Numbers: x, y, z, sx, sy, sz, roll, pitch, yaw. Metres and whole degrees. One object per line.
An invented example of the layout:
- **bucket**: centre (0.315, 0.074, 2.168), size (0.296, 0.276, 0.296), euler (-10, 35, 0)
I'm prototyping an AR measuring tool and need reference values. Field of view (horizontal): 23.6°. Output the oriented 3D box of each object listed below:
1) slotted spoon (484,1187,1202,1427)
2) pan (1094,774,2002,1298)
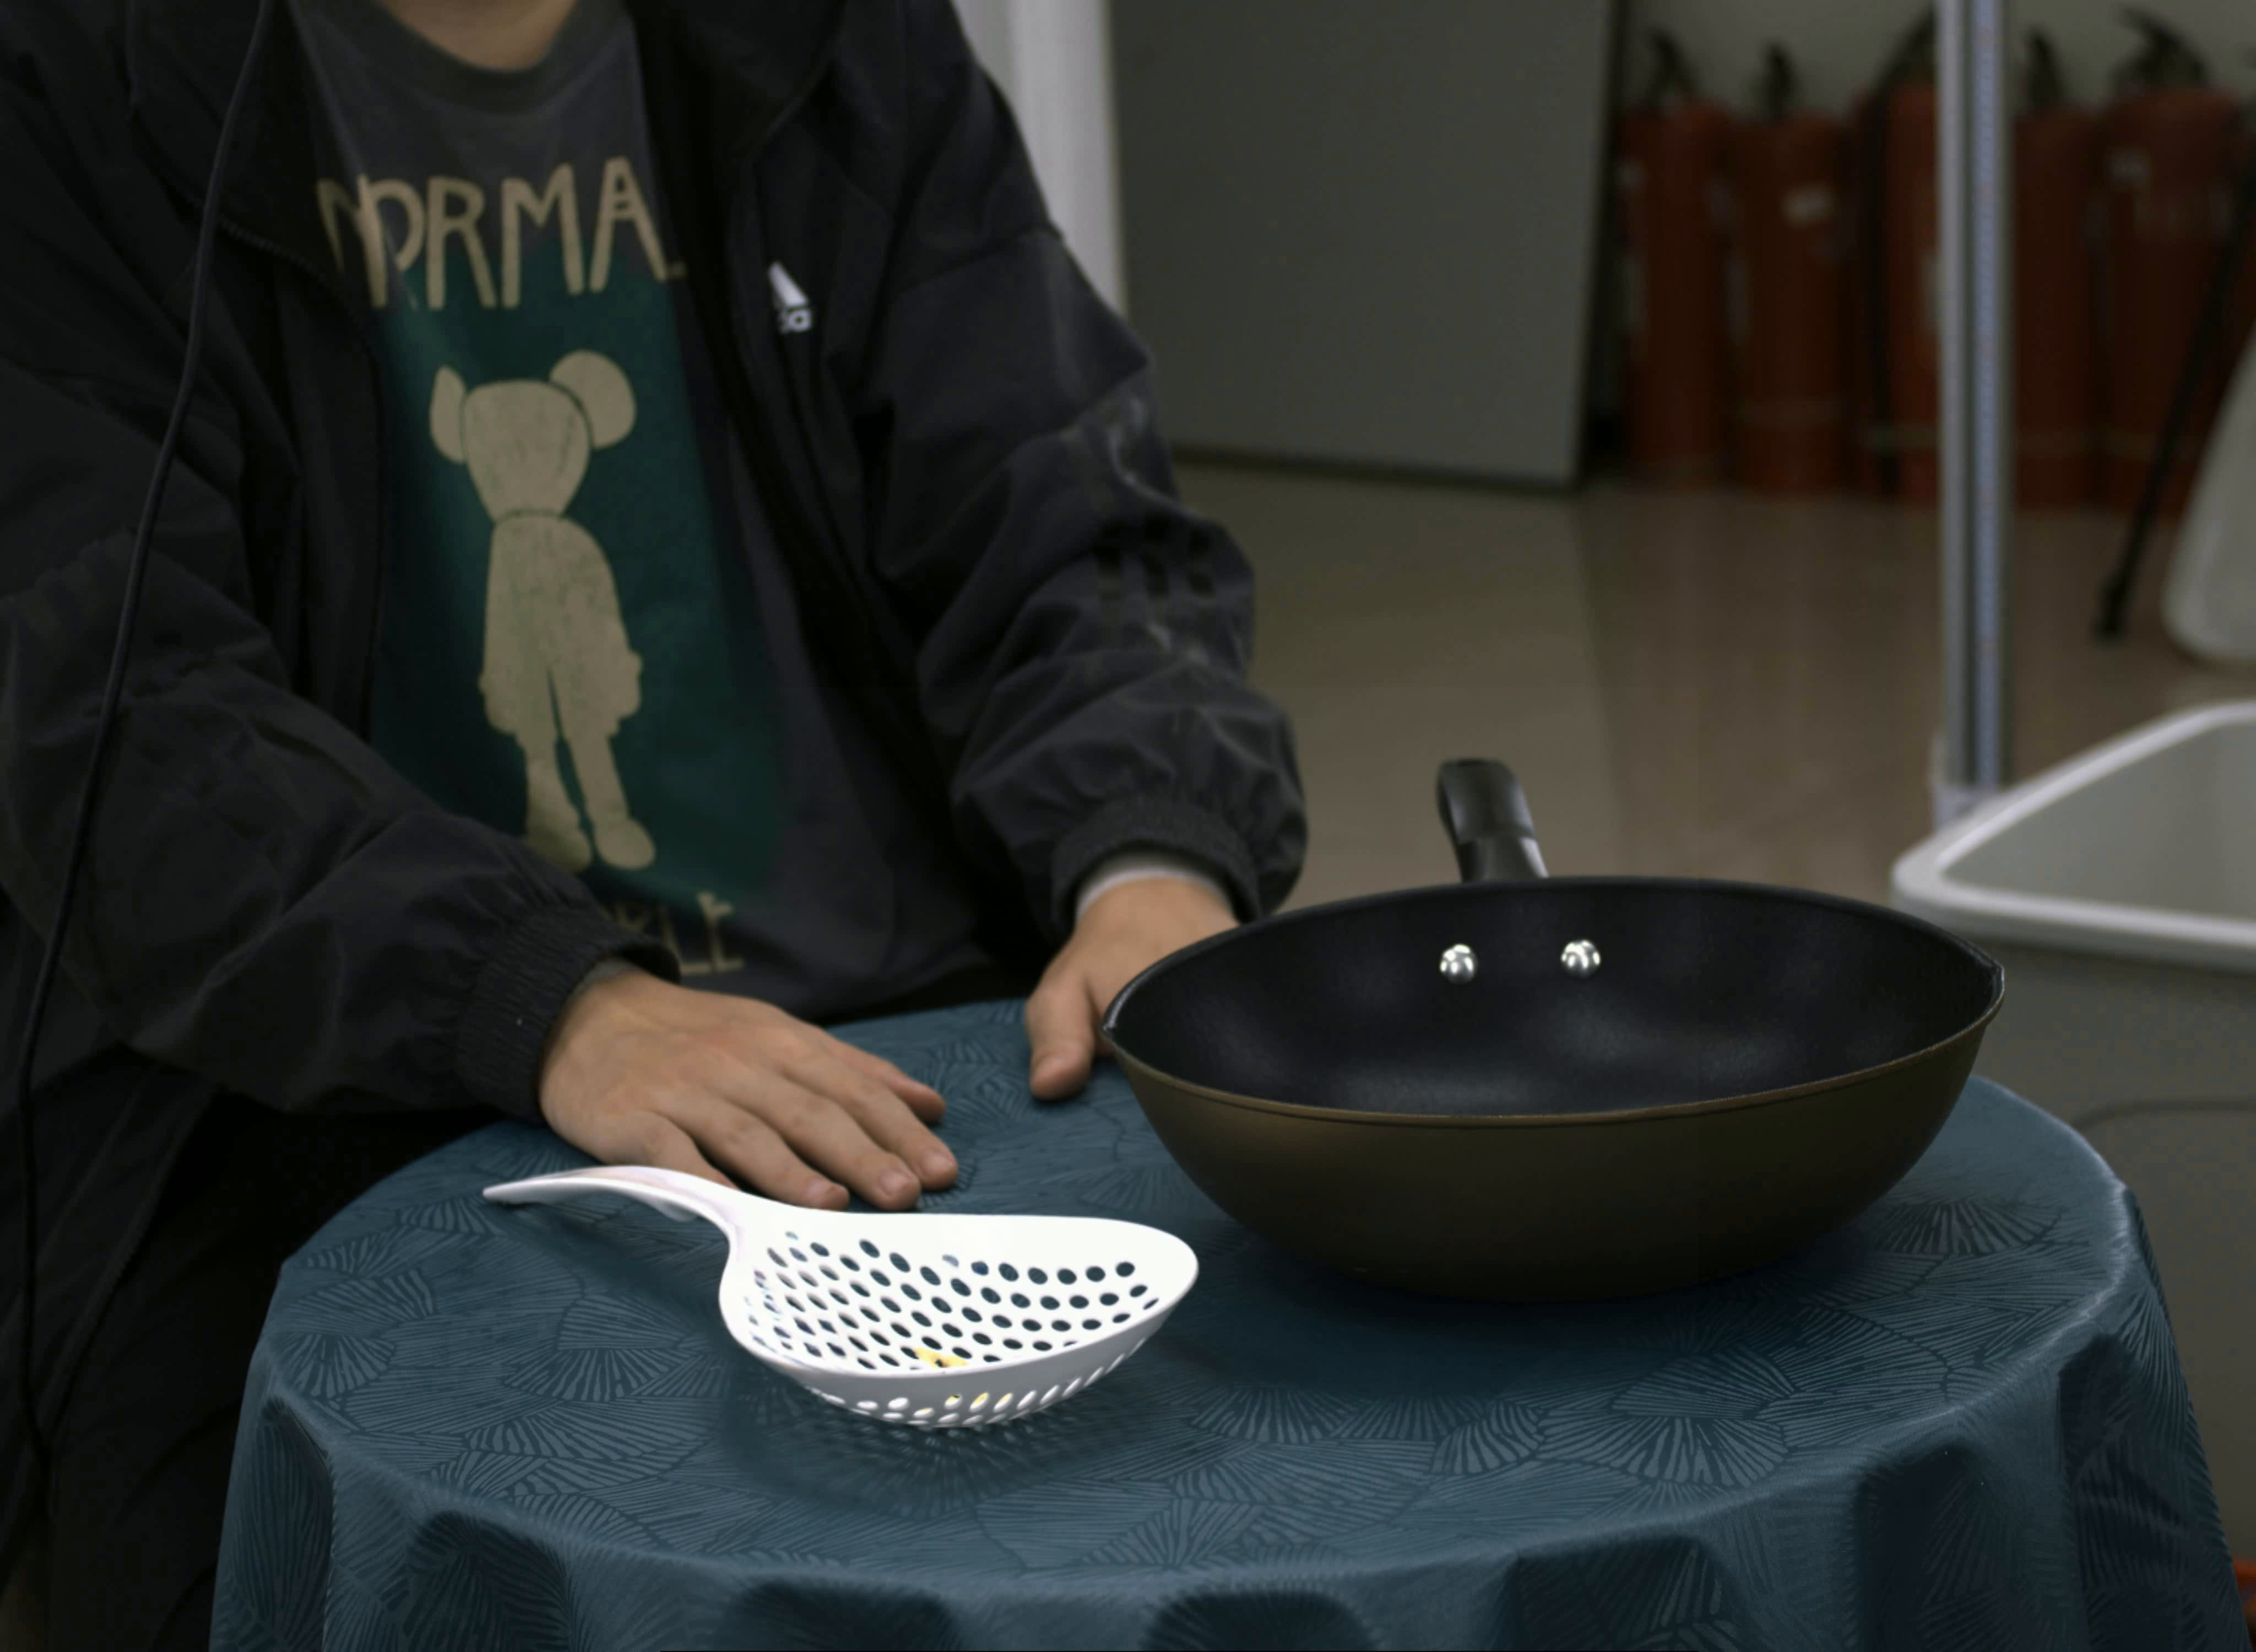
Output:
- **slotted spoon**: centre (-0.107, 0.135, 1.665), size (0.134, 0.051, 0.351), euler (-17, 18, -31)
- **pan**: centre (0.132, 0.067, 1.783), size (0.284, 0.088, 0.464), euler (-4, 12, 1)
